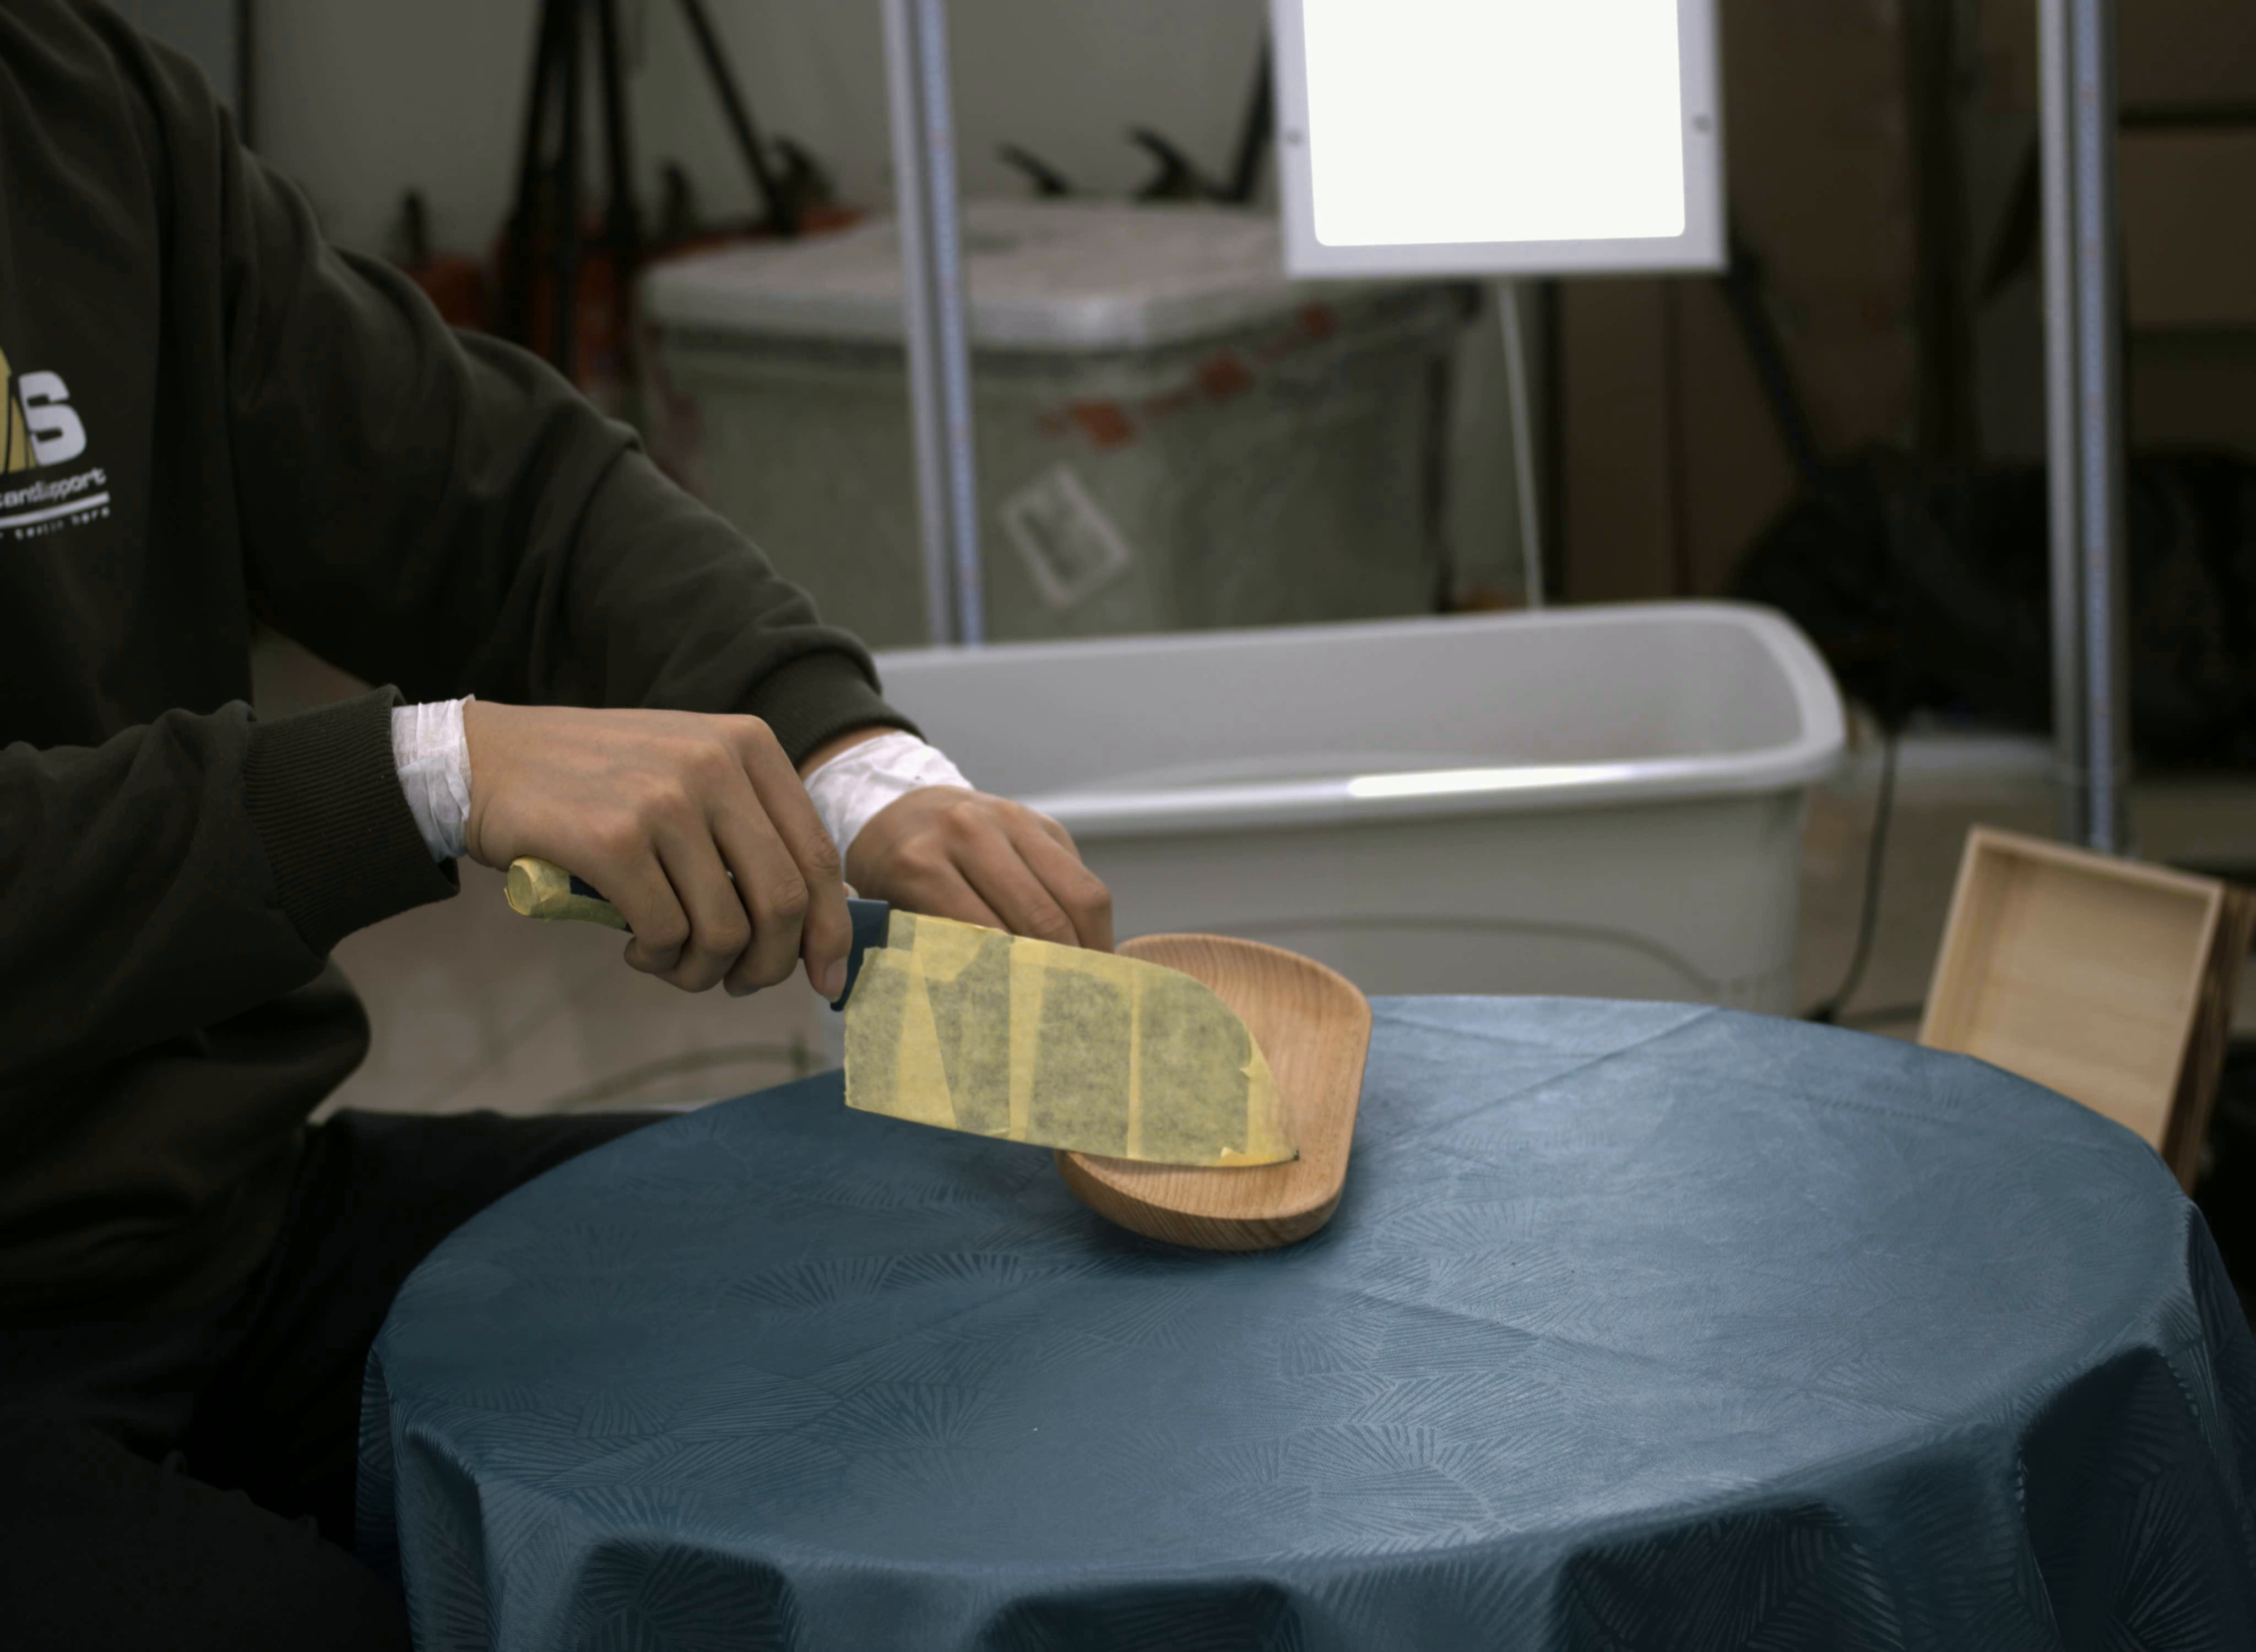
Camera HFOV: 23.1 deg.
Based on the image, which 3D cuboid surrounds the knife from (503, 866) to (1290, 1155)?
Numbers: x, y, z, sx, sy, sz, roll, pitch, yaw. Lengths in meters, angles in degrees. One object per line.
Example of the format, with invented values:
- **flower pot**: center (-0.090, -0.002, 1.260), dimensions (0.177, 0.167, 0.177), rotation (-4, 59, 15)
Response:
- **knife**: center (-0.072, 0.062, 1.829), dimensions (0.284, 0.081, 0.028), rotation (14, -27, -21)

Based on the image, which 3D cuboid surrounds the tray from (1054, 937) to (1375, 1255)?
- **tray**: center (0.032, 0.092, 1.916), dimensions (0.102, 0.020, 0.229), rotation (9, 24, 3)
